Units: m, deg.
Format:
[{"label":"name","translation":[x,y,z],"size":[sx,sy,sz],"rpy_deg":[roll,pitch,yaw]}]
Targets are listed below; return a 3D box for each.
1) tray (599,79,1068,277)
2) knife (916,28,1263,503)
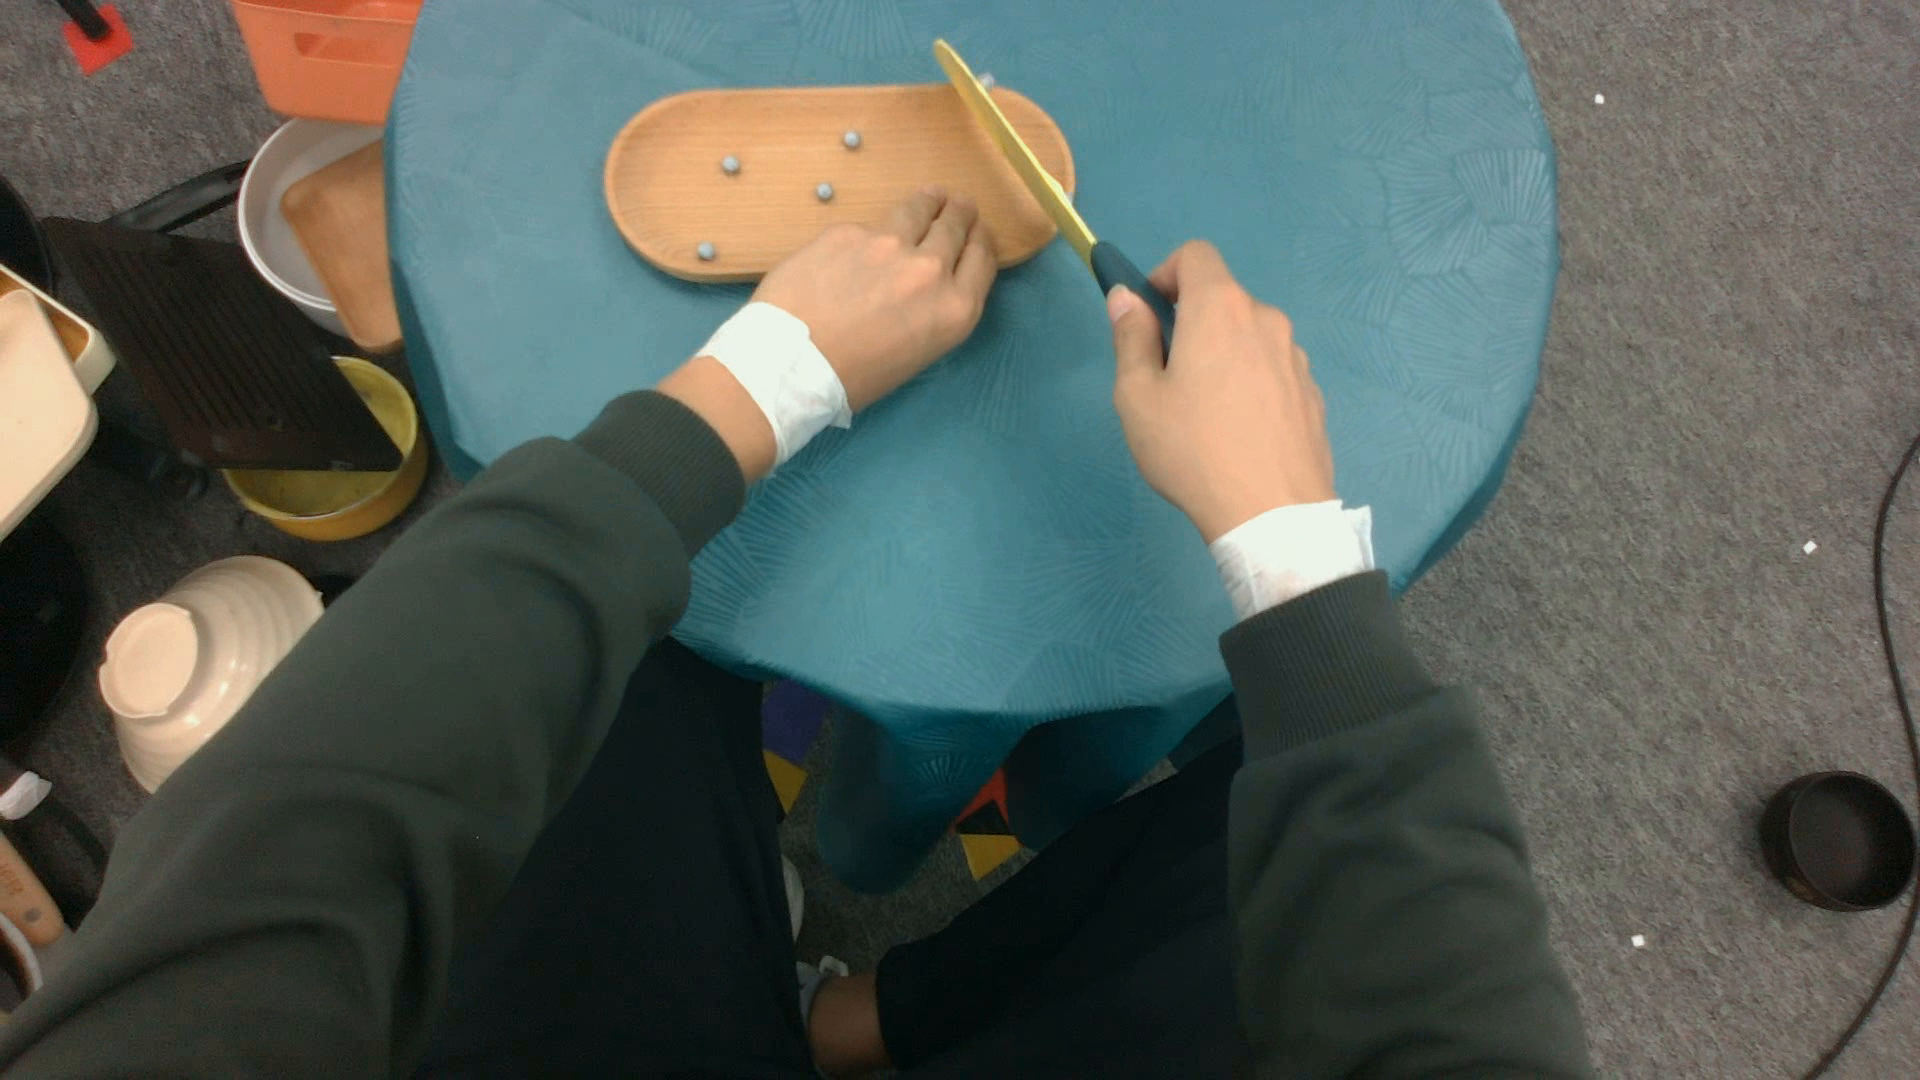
[{"label":"tray","translation":[-0.061,-0.181,0.686],"size":[0.231,0.020,0.102],"rpy_deg":[-4,75,-9]},{"label":"knife","translation":[0.051,-0.133,0.631],"size":[0.027,0.081,0.290],"rpy_deg":[-34,71,7]}]
